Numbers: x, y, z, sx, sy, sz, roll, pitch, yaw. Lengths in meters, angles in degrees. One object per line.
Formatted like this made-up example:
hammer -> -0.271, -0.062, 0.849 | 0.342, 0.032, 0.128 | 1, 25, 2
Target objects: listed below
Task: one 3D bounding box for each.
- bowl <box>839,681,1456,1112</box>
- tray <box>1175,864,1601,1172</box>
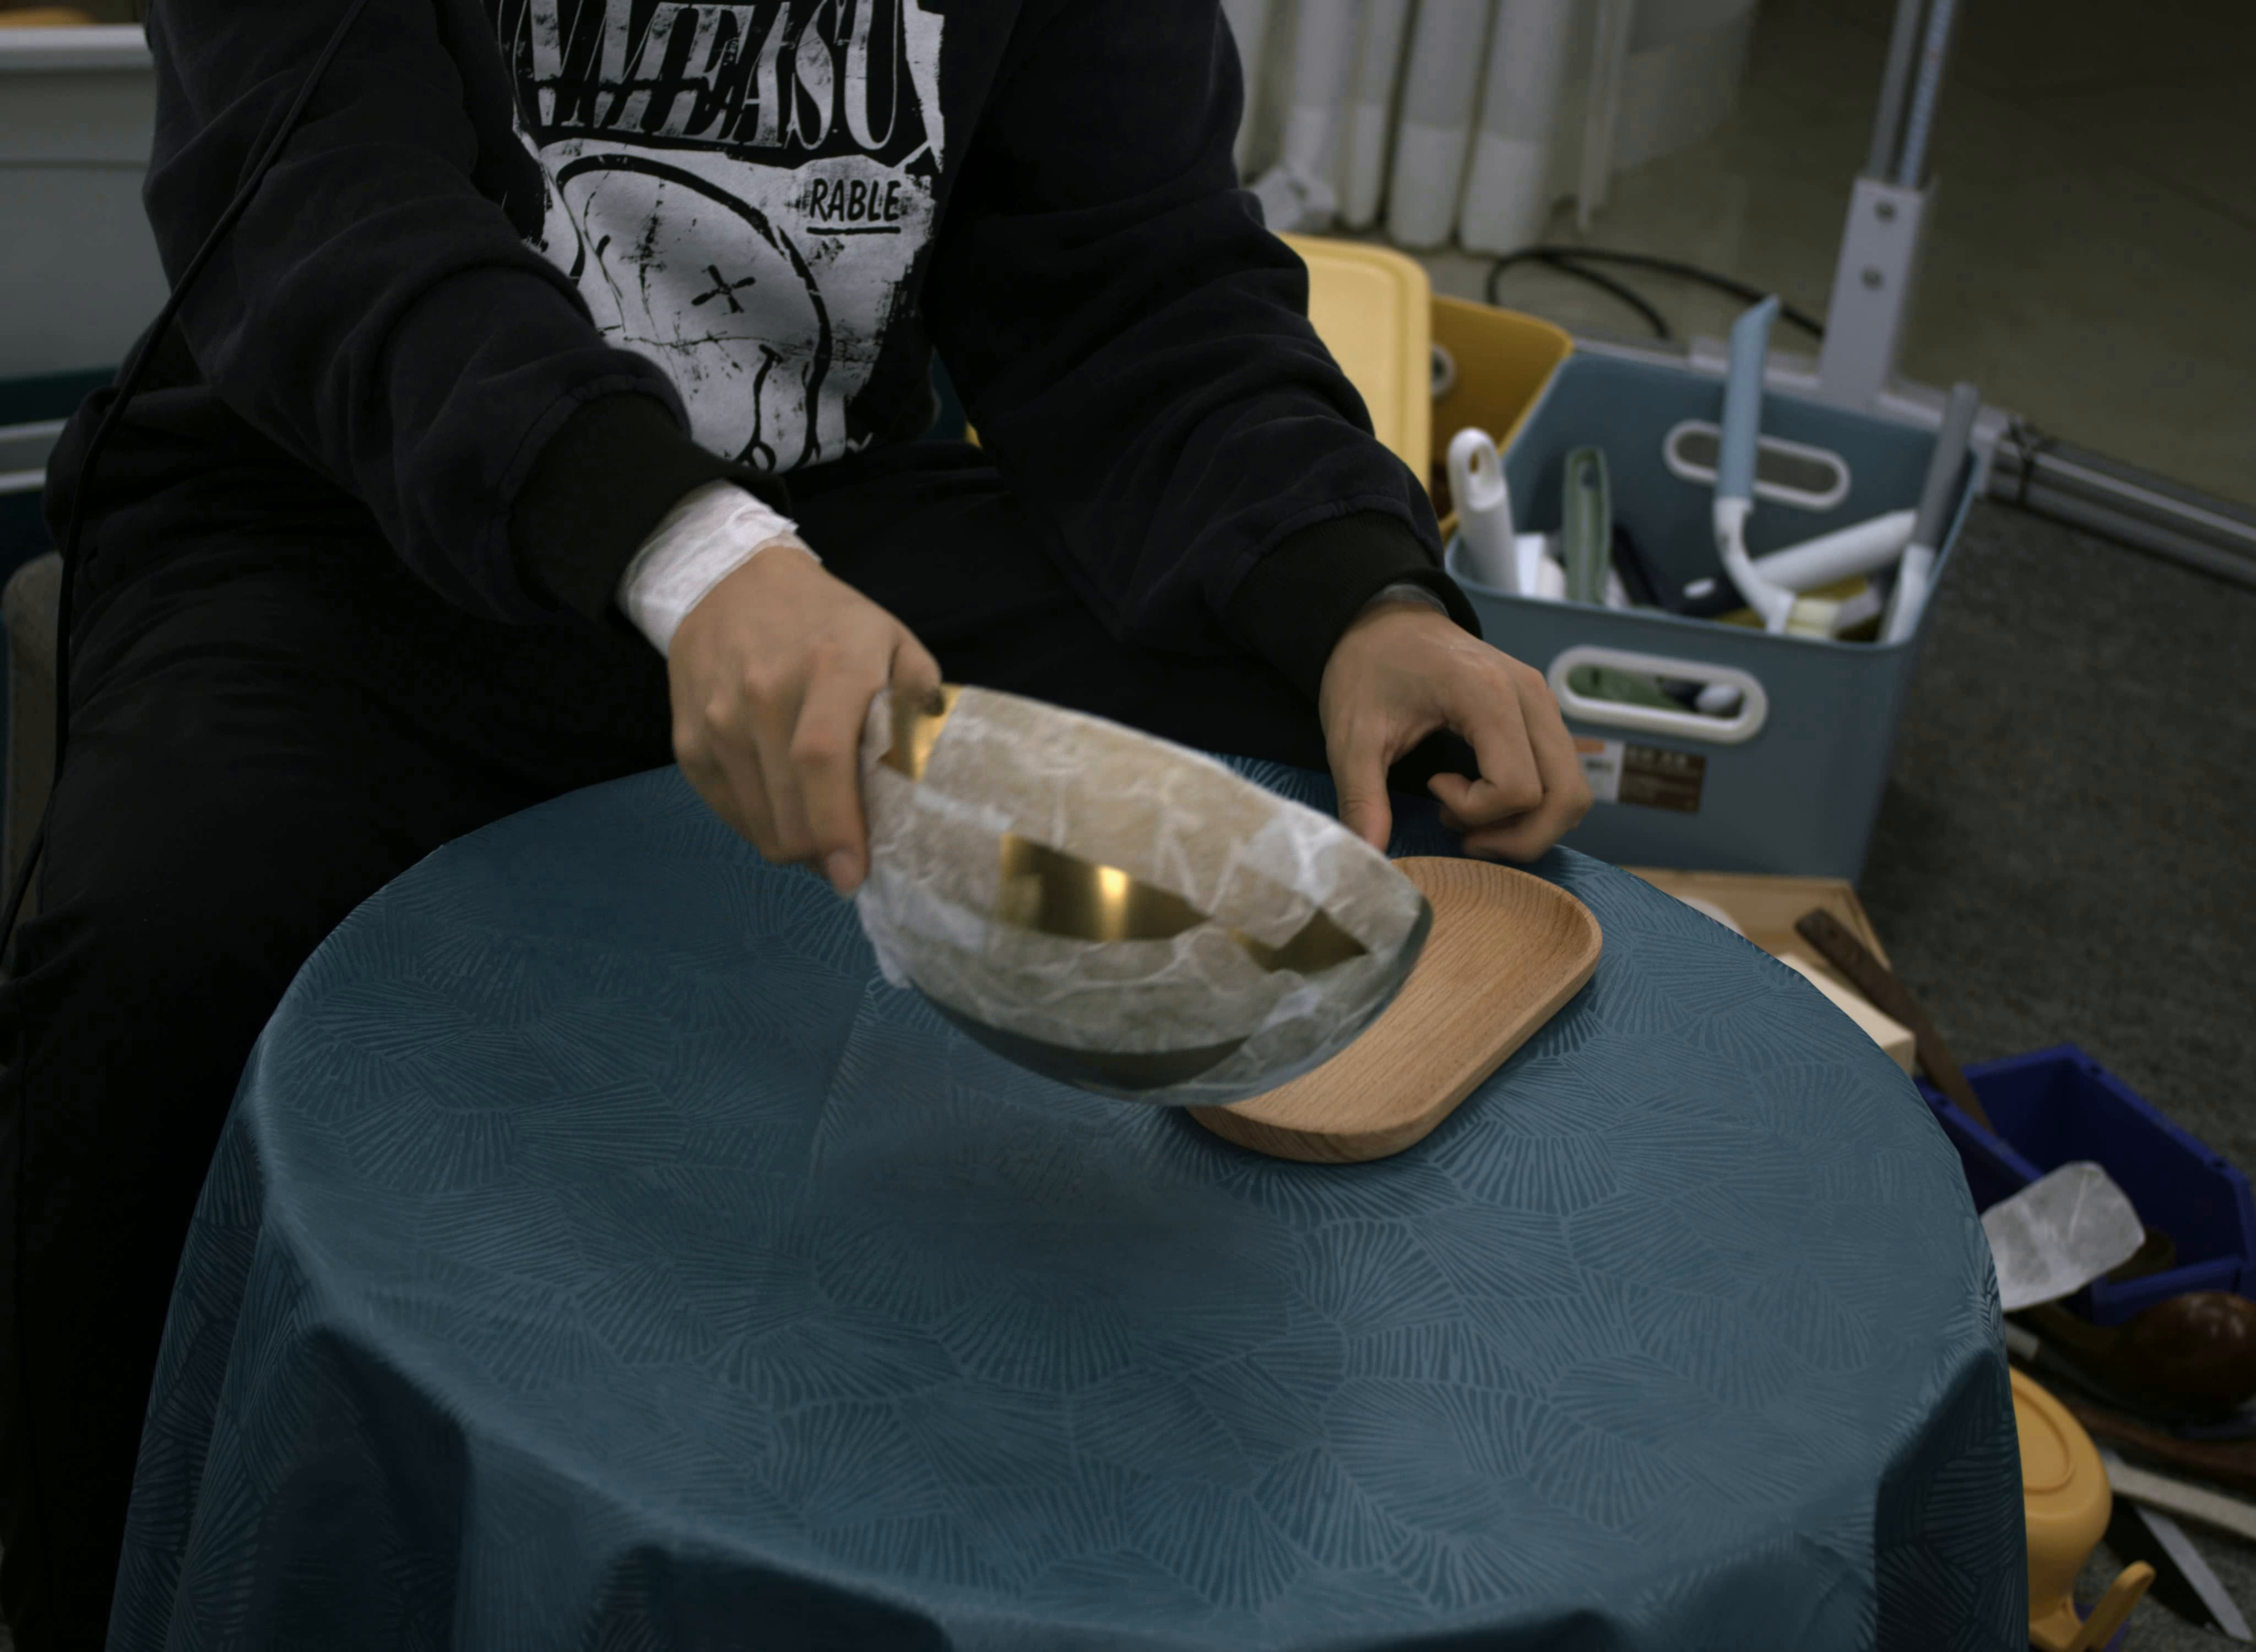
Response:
bowl -> -0.009, 0.038, 1.732 | 0.214, 0.095, 0.214 | 20, -12, 4
tray -> 0.094, 0.067, 1.916 | 0.102, 0.020, 0.231 | 16, 30, 23
